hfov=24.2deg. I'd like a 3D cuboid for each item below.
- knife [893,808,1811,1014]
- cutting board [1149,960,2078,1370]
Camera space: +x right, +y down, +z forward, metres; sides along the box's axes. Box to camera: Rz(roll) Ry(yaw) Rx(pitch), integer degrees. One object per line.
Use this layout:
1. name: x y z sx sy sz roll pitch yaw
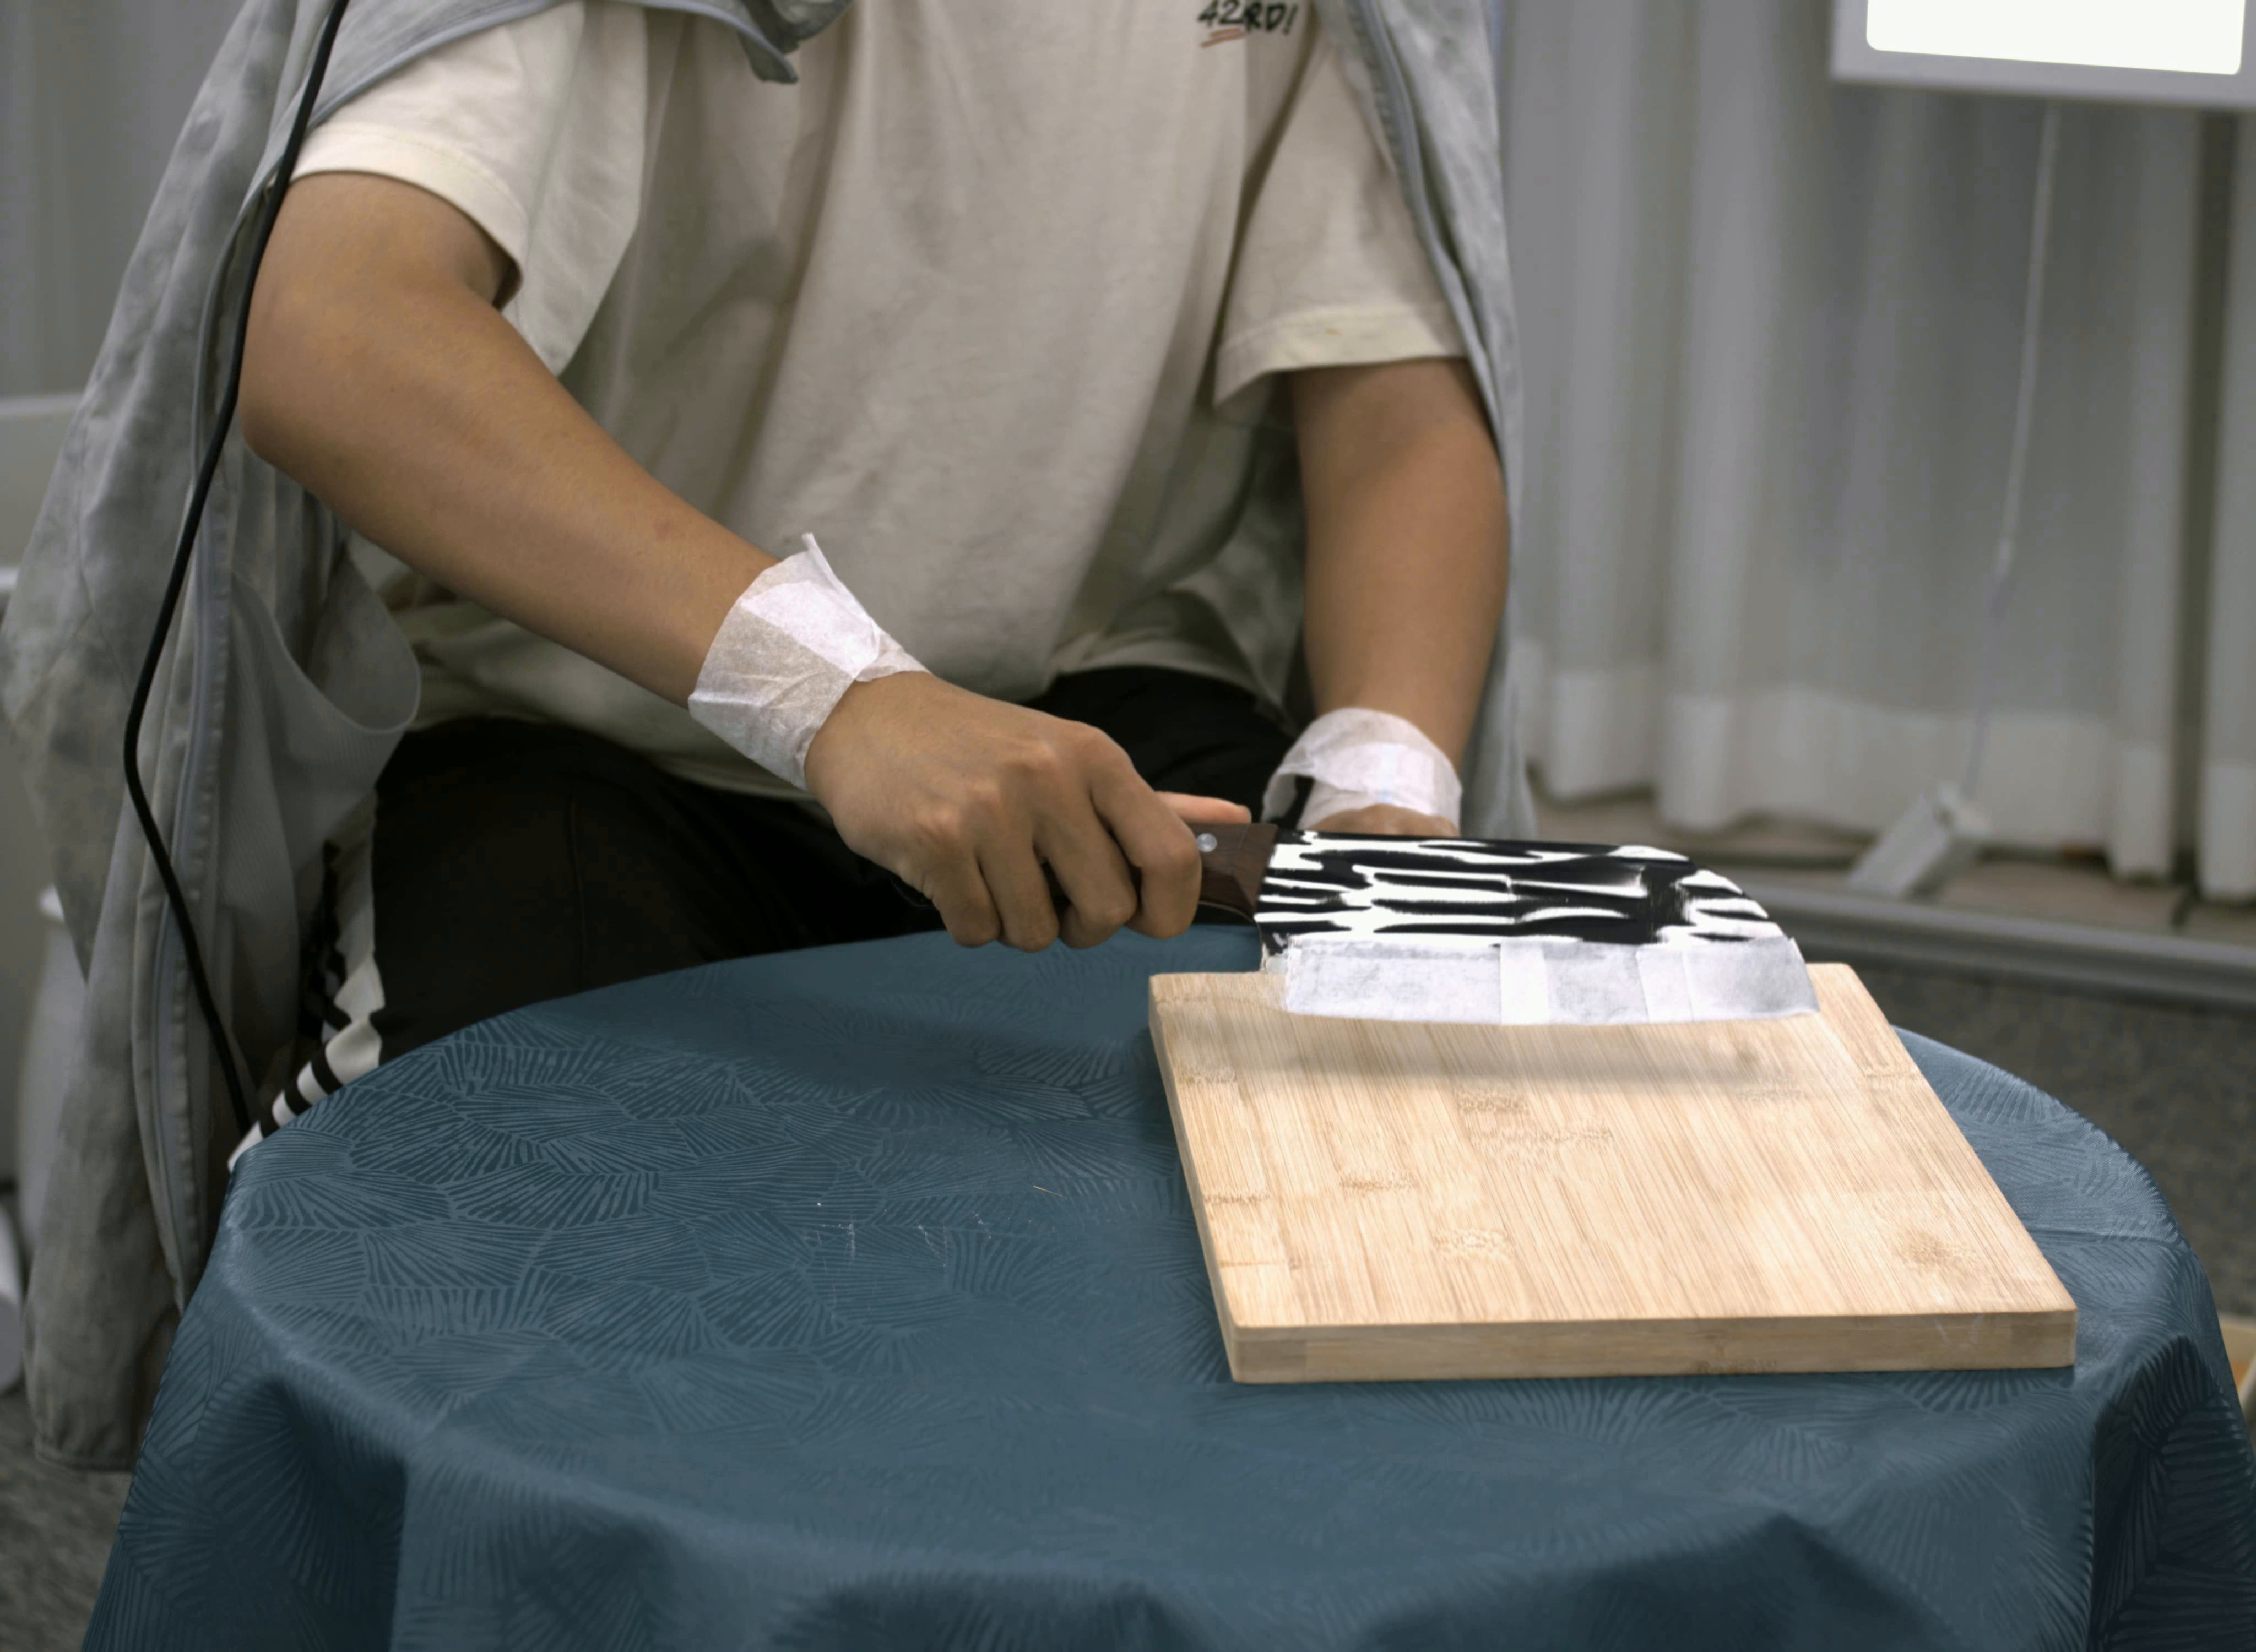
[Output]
1. knife: 0.070 0.029 1.688 0.298 0.024 0.068 3 61 4
2. cutting board: 0.138 0.101 1.643 0.250 0.024 0.346 0 15 -5
